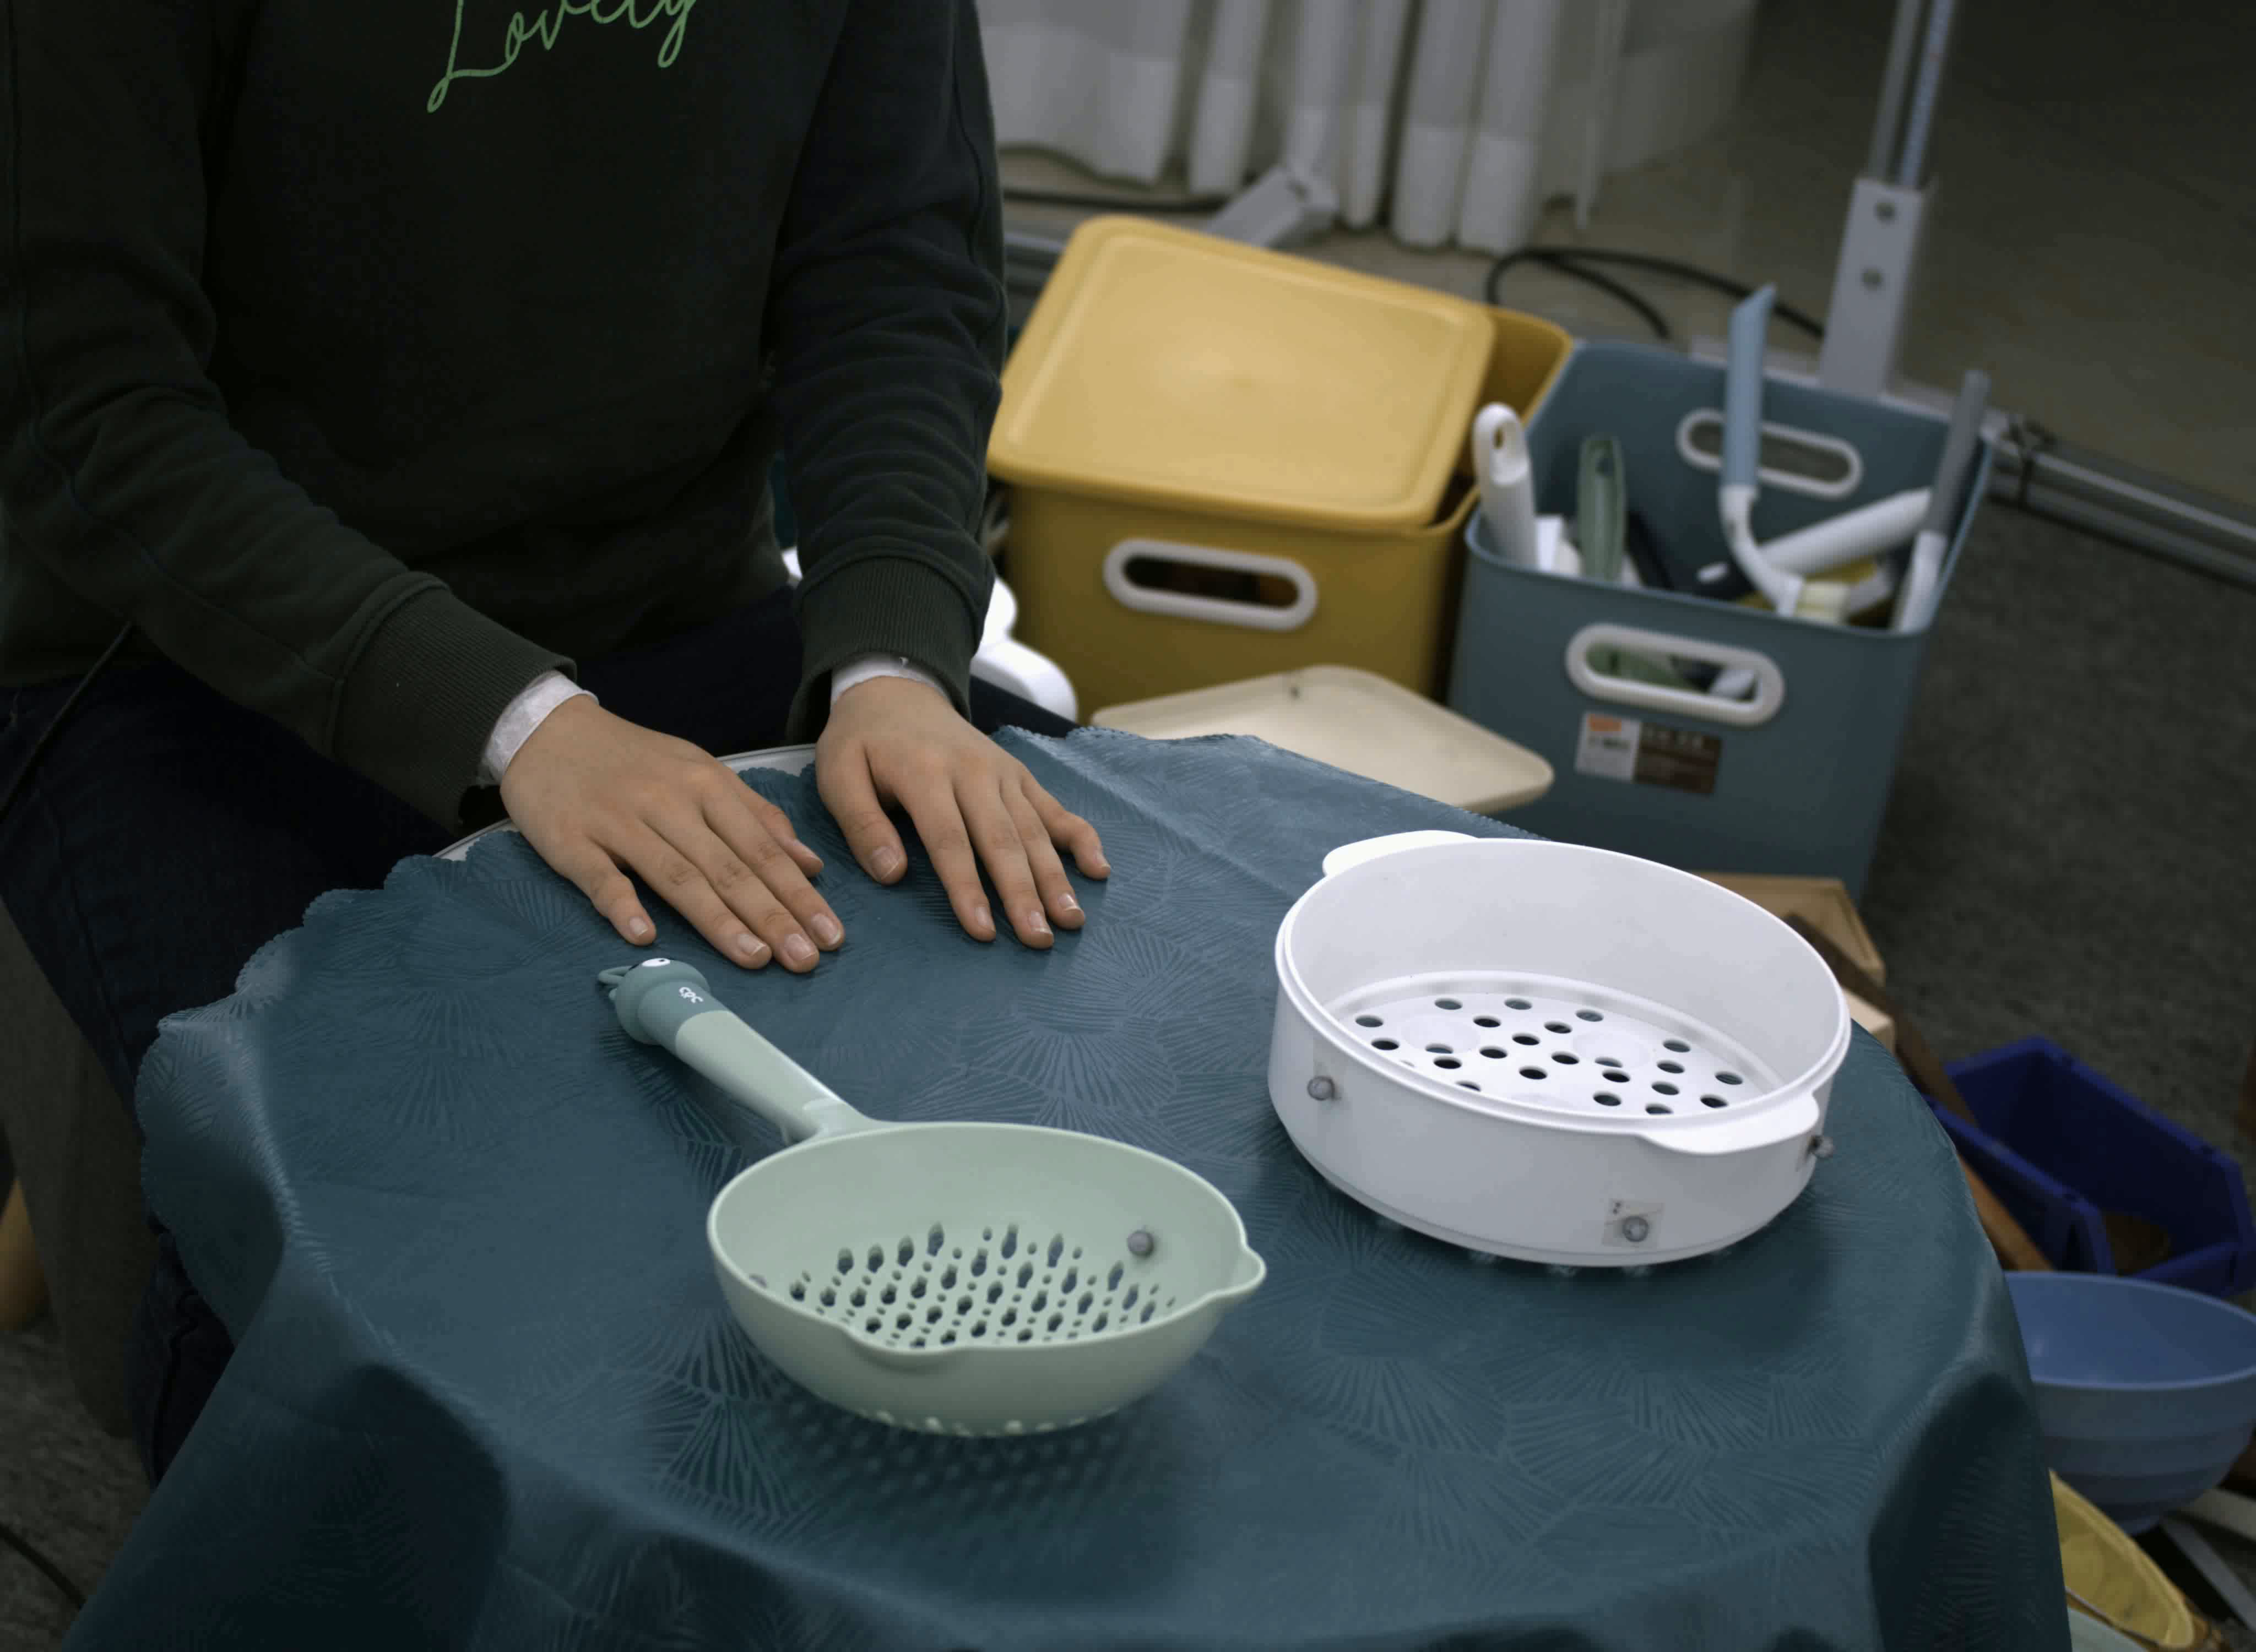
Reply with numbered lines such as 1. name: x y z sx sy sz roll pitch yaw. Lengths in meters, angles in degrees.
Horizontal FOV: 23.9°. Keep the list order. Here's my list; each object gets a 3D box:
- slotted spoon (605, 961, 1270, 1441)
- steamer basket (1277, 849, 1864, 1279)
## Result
1. slotted spoon: -0.094 0.106 1.741 0.168 0.075 0.362 -8 30 -28
2. steamer basket: 0.150 0.083 1.843 0.200 0.069 0.232 -10 30 -31
